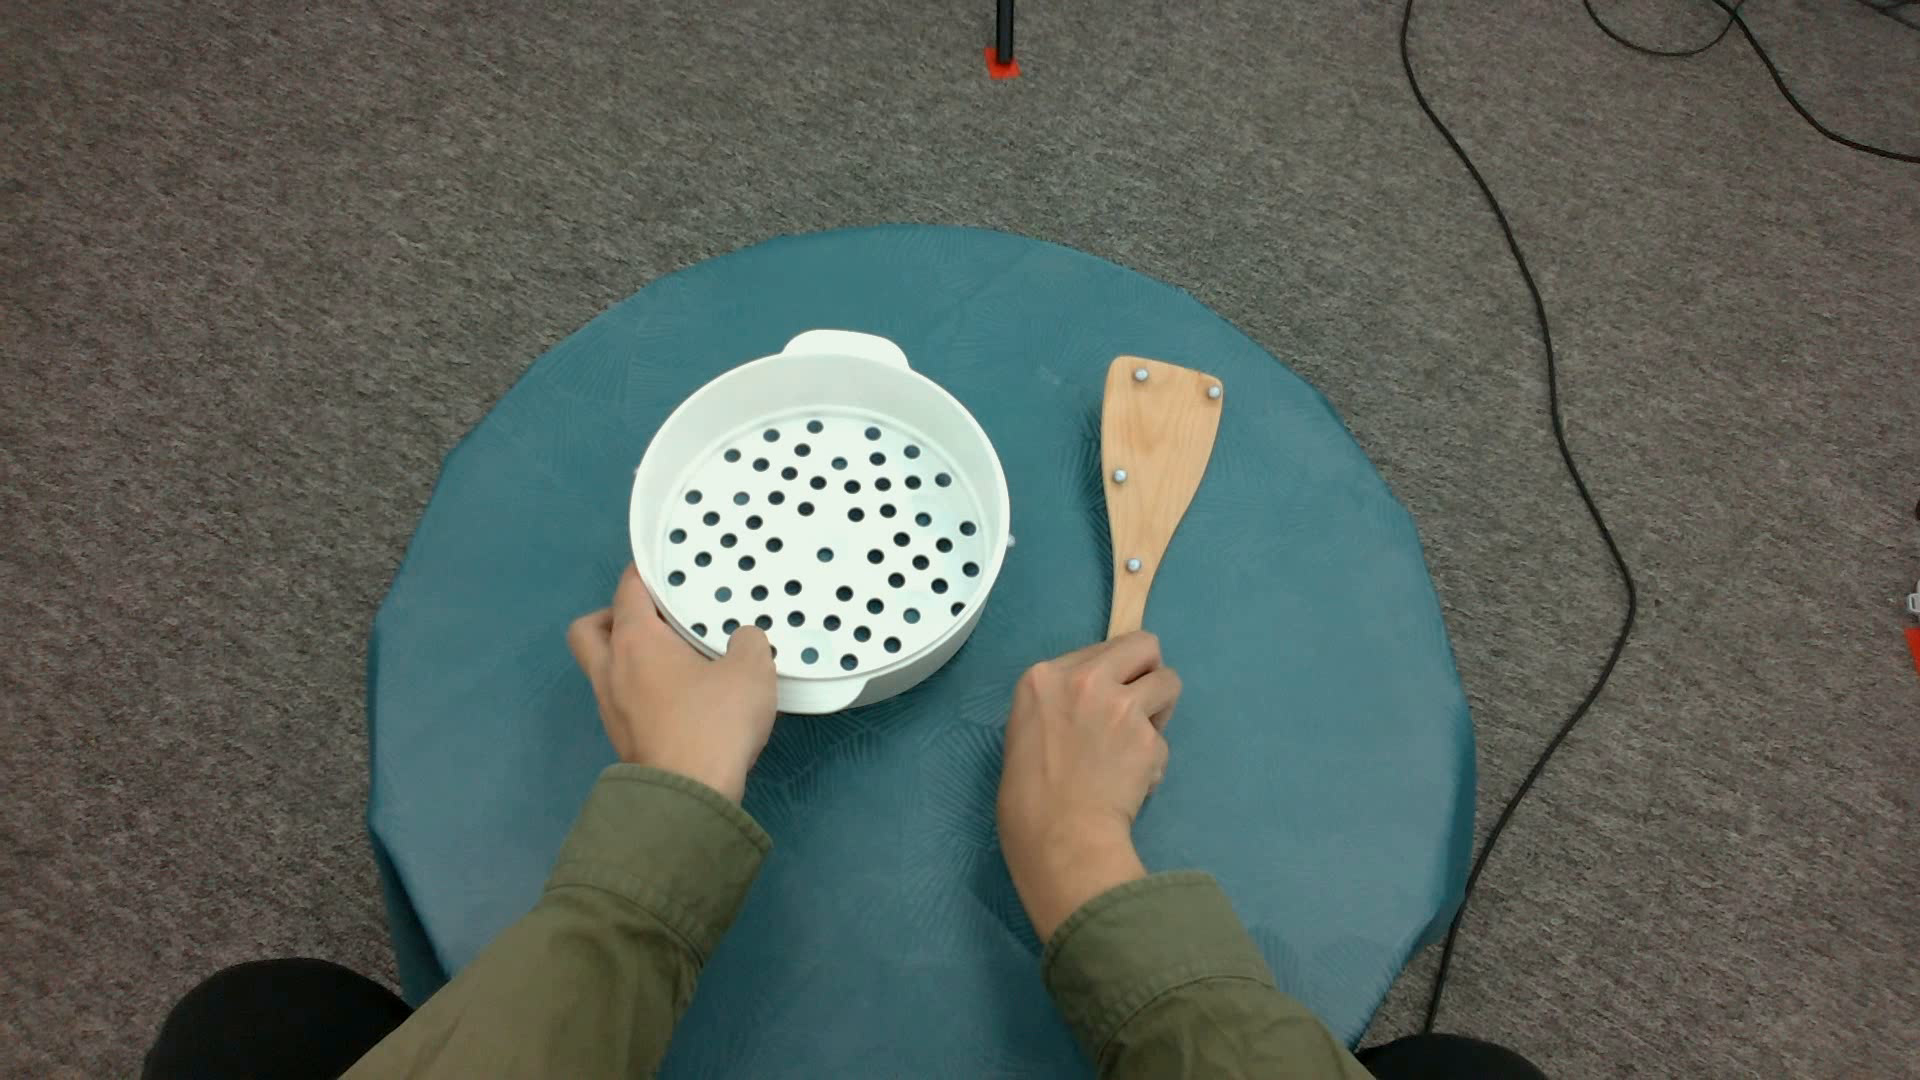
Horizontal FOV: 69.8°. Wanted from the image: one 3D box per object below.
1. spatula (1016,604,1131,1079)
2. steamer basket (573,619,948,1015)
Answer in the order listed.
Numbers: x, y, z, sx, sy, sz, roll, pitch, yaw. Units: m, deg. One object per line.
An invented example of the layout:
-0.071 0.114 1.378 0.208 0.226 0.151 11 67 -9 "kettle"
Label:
0.067 0.173 0.773 0.080 0.016 0.329 16 51 -18 "spatula"
-0.107 0.156 0.765 0.202 0.069 0.231 -3 54 -1 "steamer basket"
